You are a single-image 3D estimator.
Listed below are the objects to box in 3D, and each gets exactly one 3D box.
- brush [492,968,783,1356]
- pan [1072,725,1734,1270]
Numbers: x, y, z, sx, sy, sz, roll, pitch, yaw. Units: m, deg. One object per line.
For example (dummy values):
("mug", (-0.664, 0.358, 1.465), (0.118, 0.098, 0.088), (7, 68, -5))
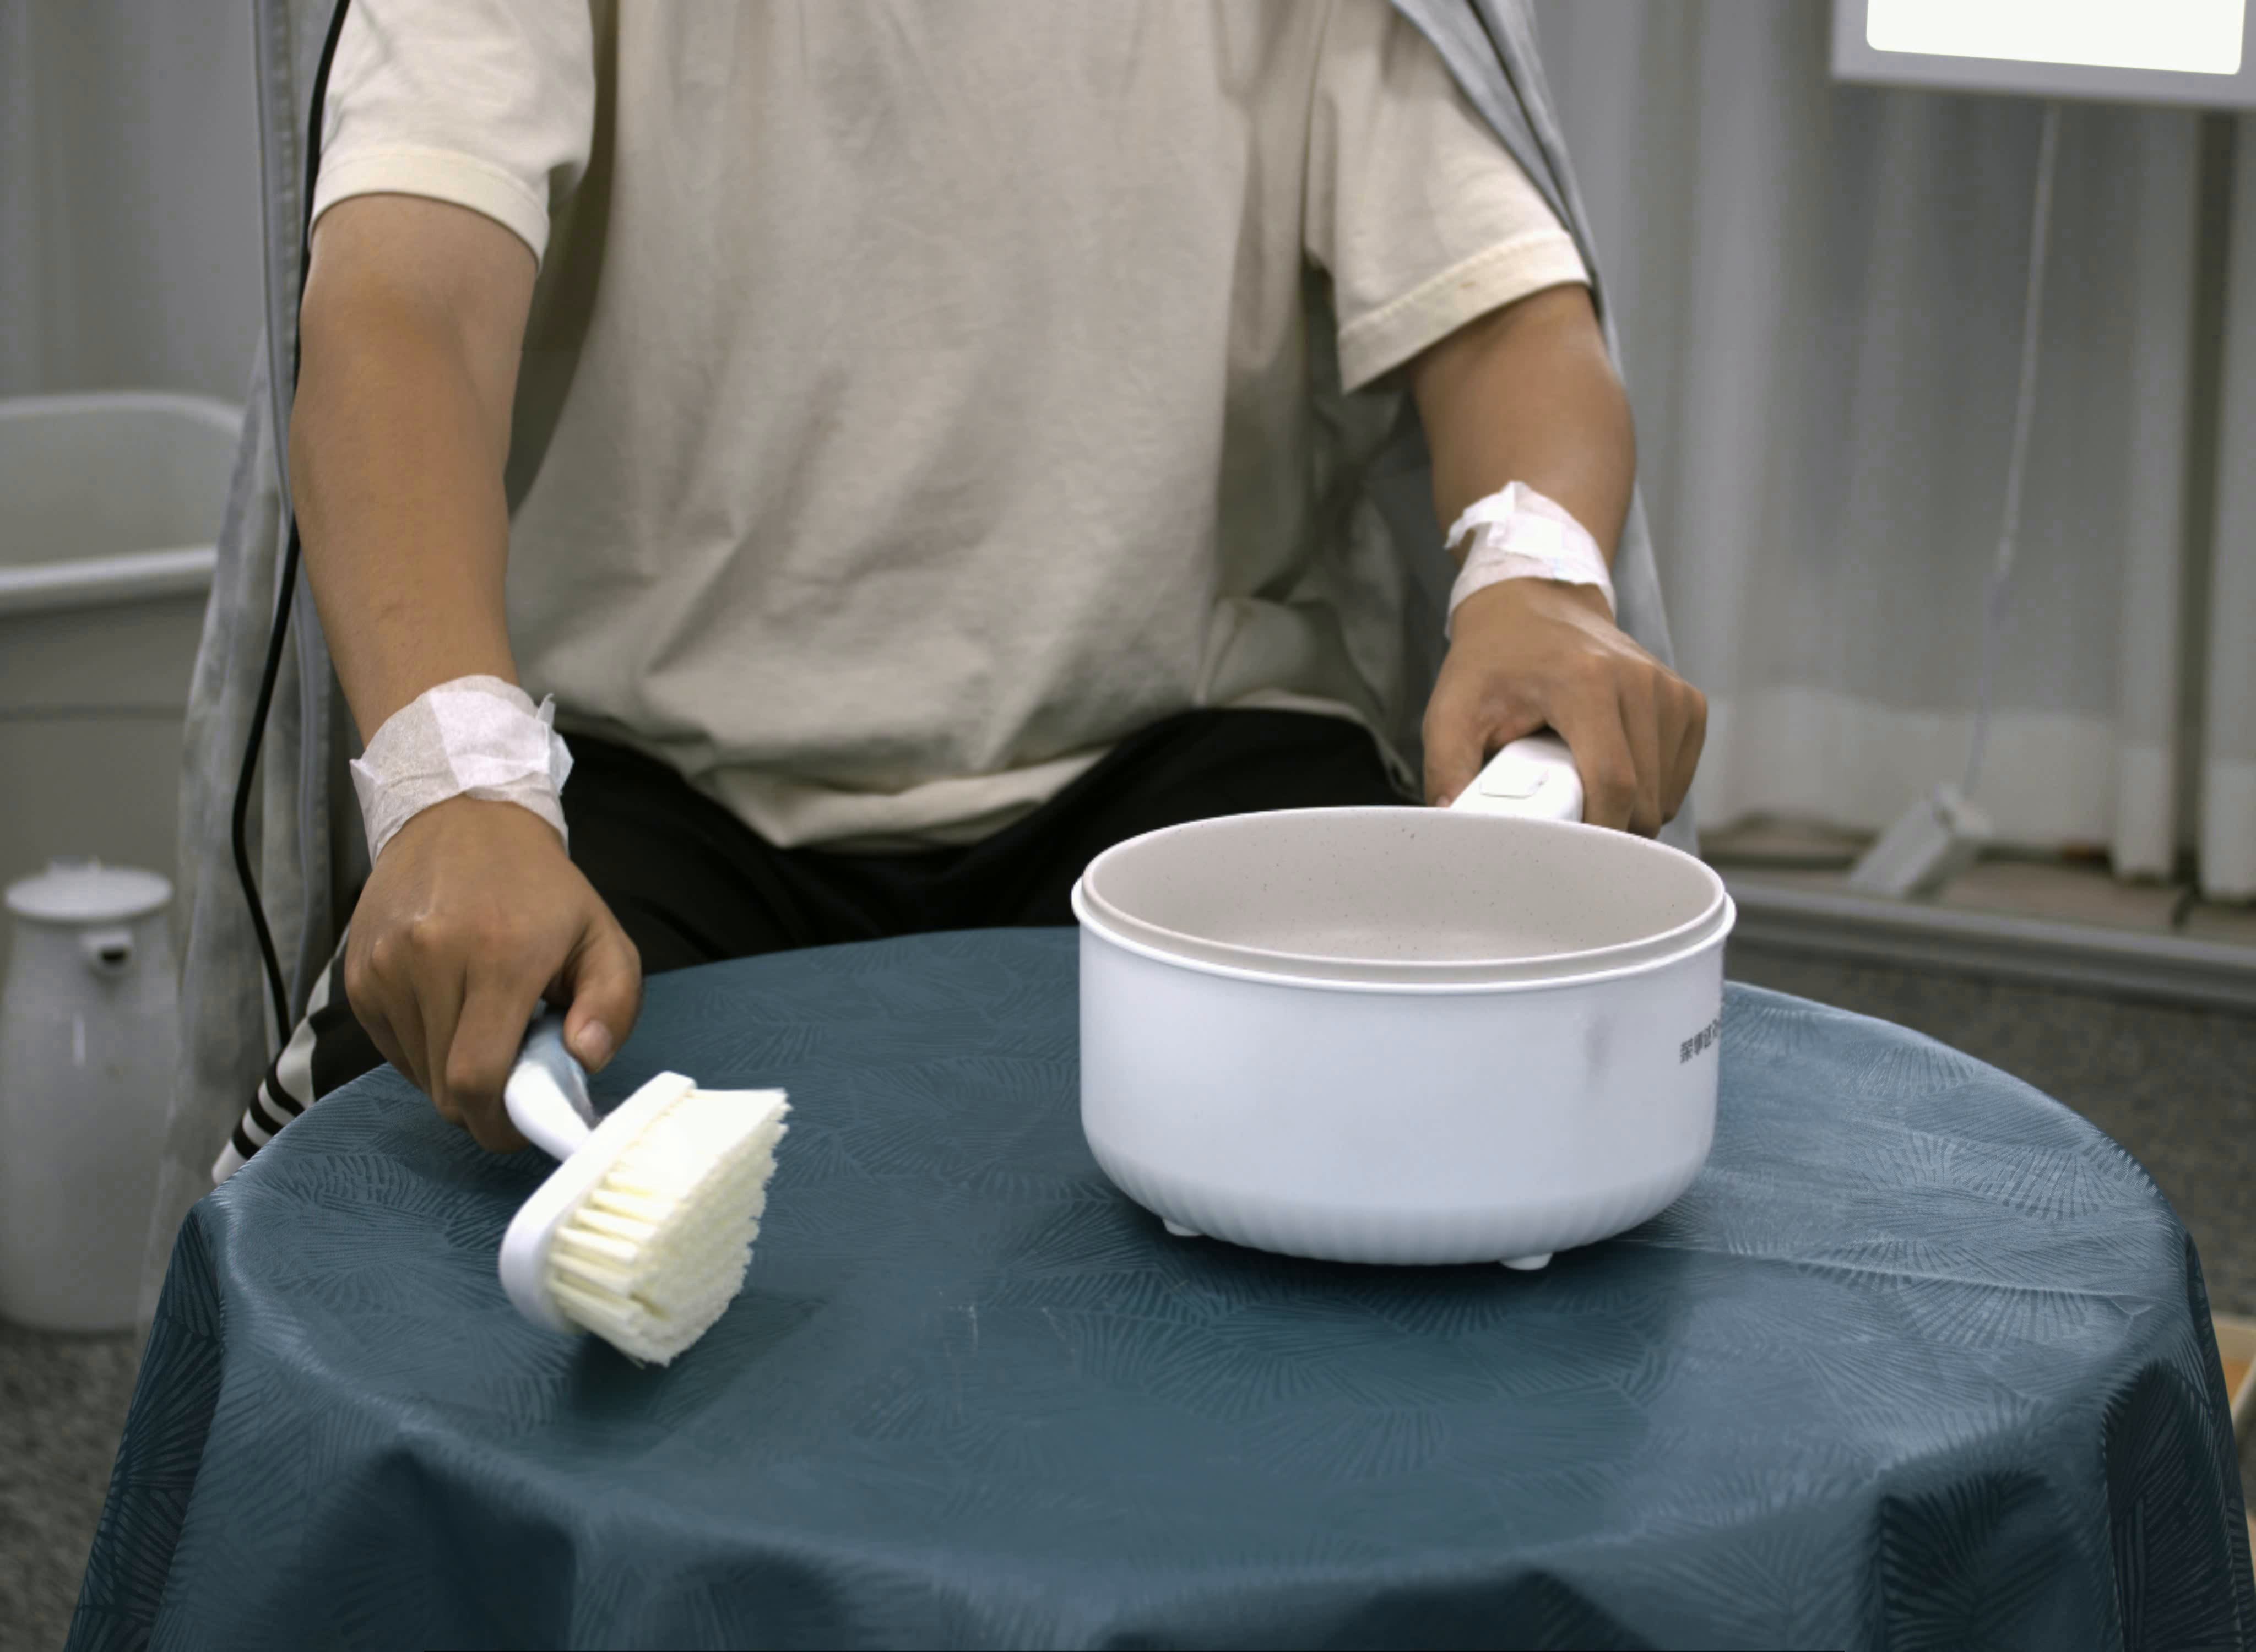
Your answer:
("brush", (-0.137, 0.090, 1.578), (0.083, 0.085, 0.324), (-37, 10, 4))
("pan", (0.103, 0.049, 1.676), (0.199, 0.103, 0.355), (4, 14, 15))
